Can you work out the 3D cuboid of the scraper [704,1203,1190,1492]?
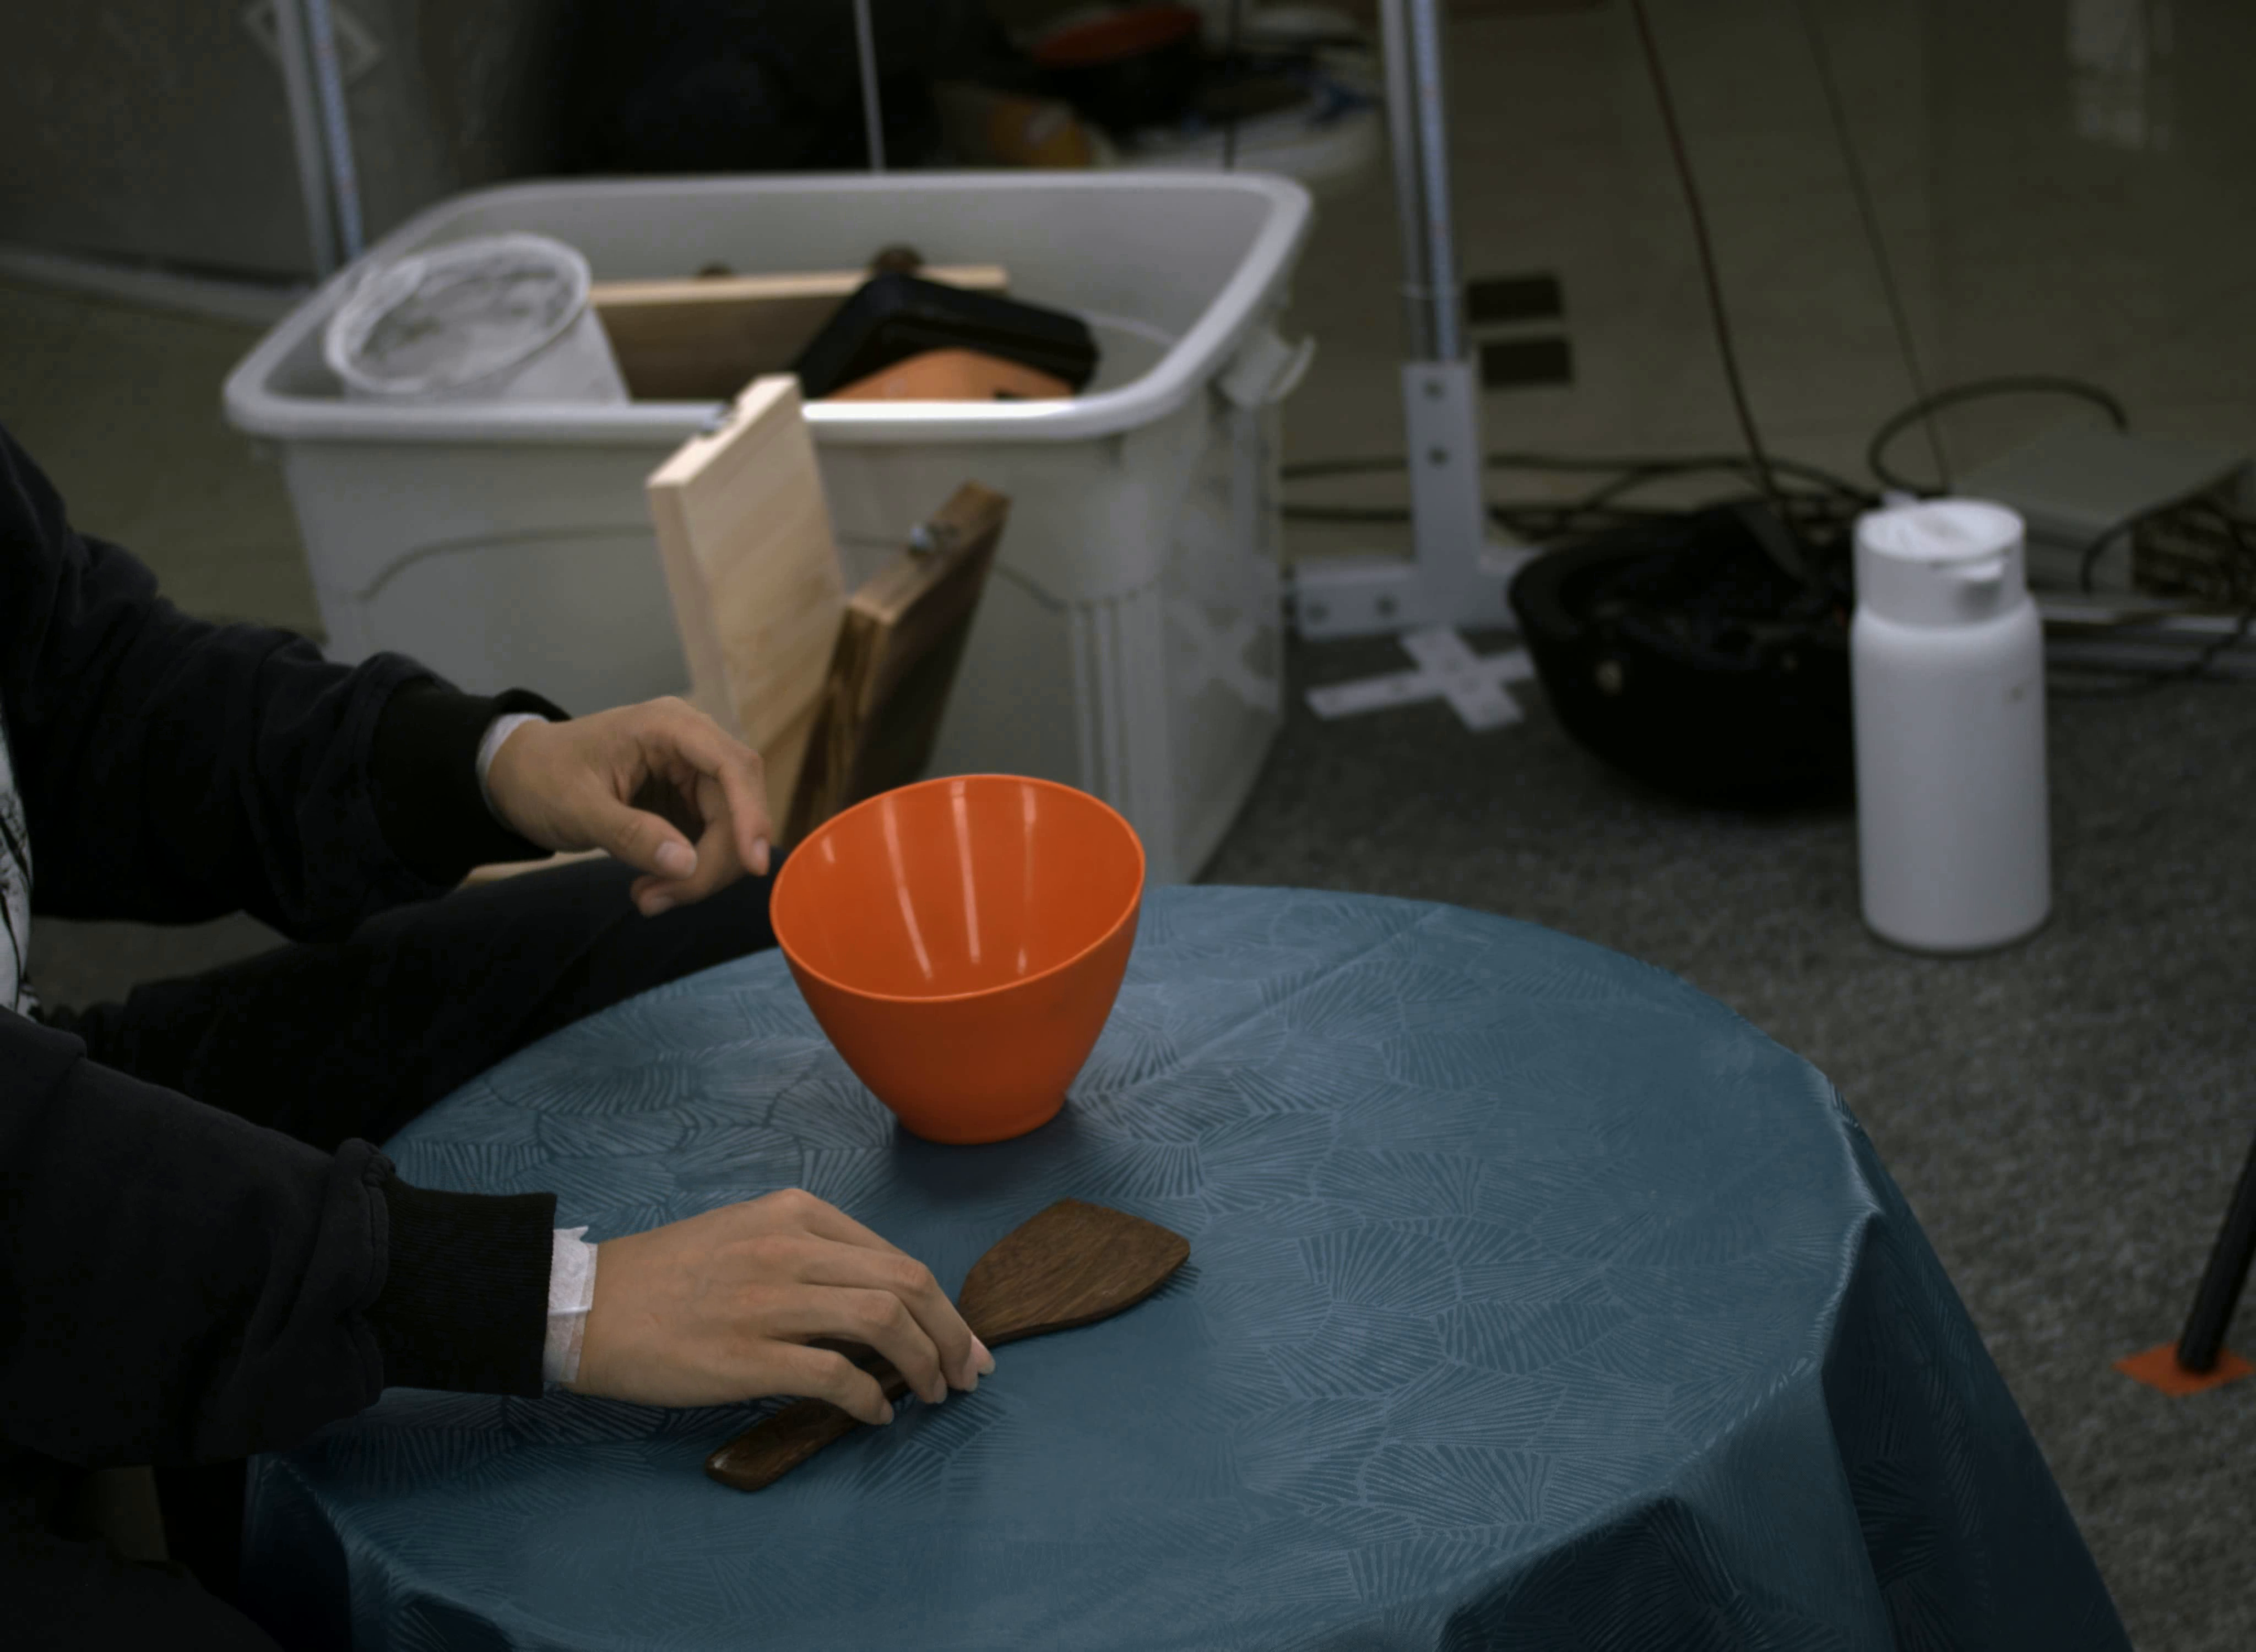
[{"bbox_3d":[-0.070,0.190,2.052,0.075,0.011,0.209,17,34,43],"label":"scraper"}]

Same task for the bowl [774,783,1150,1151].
[{"bbox_3d":[-0.061,0.061,2.214,0.148,0.106,0.146,-5,25,2],"label":"bowl"}]
